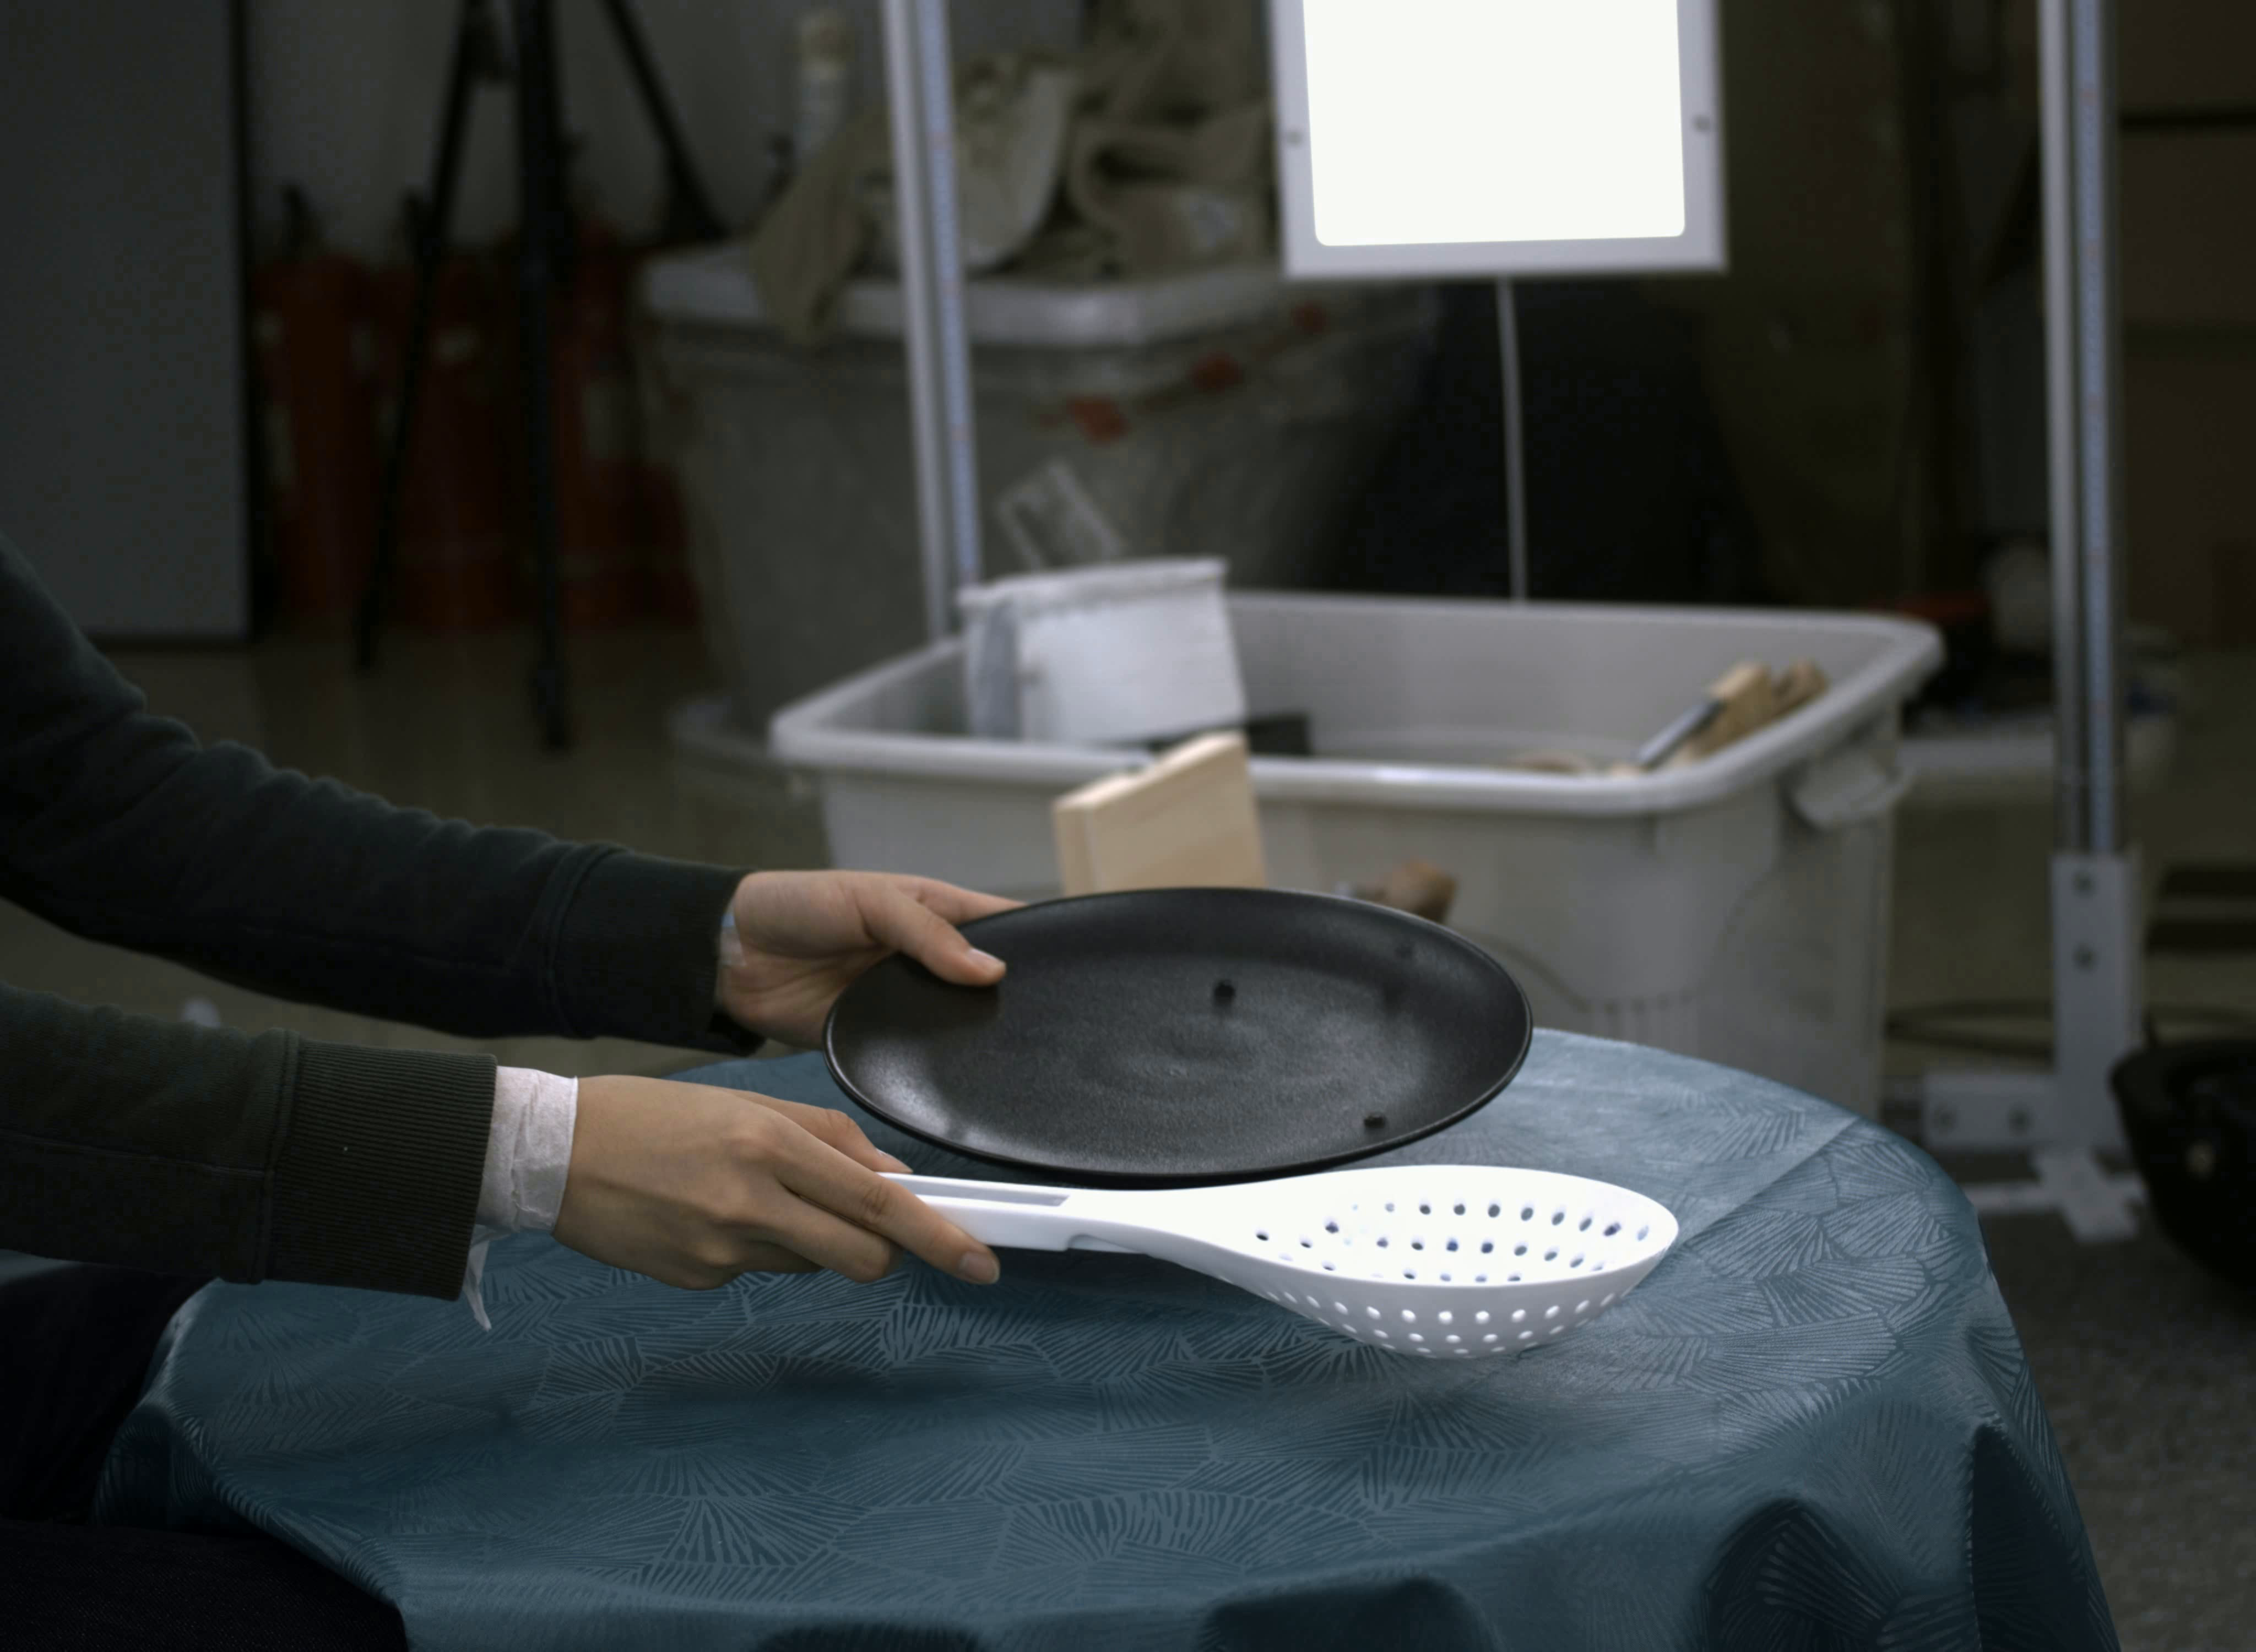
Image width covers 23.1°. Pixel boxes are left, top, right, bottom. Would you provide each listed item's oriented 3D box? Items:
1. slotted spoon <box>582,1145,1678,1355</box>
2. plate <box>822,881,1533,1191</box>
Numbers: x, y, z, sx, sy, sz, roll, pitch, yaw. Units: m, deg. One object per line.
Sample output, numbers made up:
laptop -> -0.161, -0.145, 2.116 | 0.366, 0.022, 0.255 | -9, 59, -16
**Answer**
slotted spoon -> -0.004, 0.121, 1.706 | 0.353, 0.046, 0.134 | 8, 12, 17
plate -> 0.017, 0.075, 1.880 | 0.244, 0.023, 0.244 | -3, 22, 0
